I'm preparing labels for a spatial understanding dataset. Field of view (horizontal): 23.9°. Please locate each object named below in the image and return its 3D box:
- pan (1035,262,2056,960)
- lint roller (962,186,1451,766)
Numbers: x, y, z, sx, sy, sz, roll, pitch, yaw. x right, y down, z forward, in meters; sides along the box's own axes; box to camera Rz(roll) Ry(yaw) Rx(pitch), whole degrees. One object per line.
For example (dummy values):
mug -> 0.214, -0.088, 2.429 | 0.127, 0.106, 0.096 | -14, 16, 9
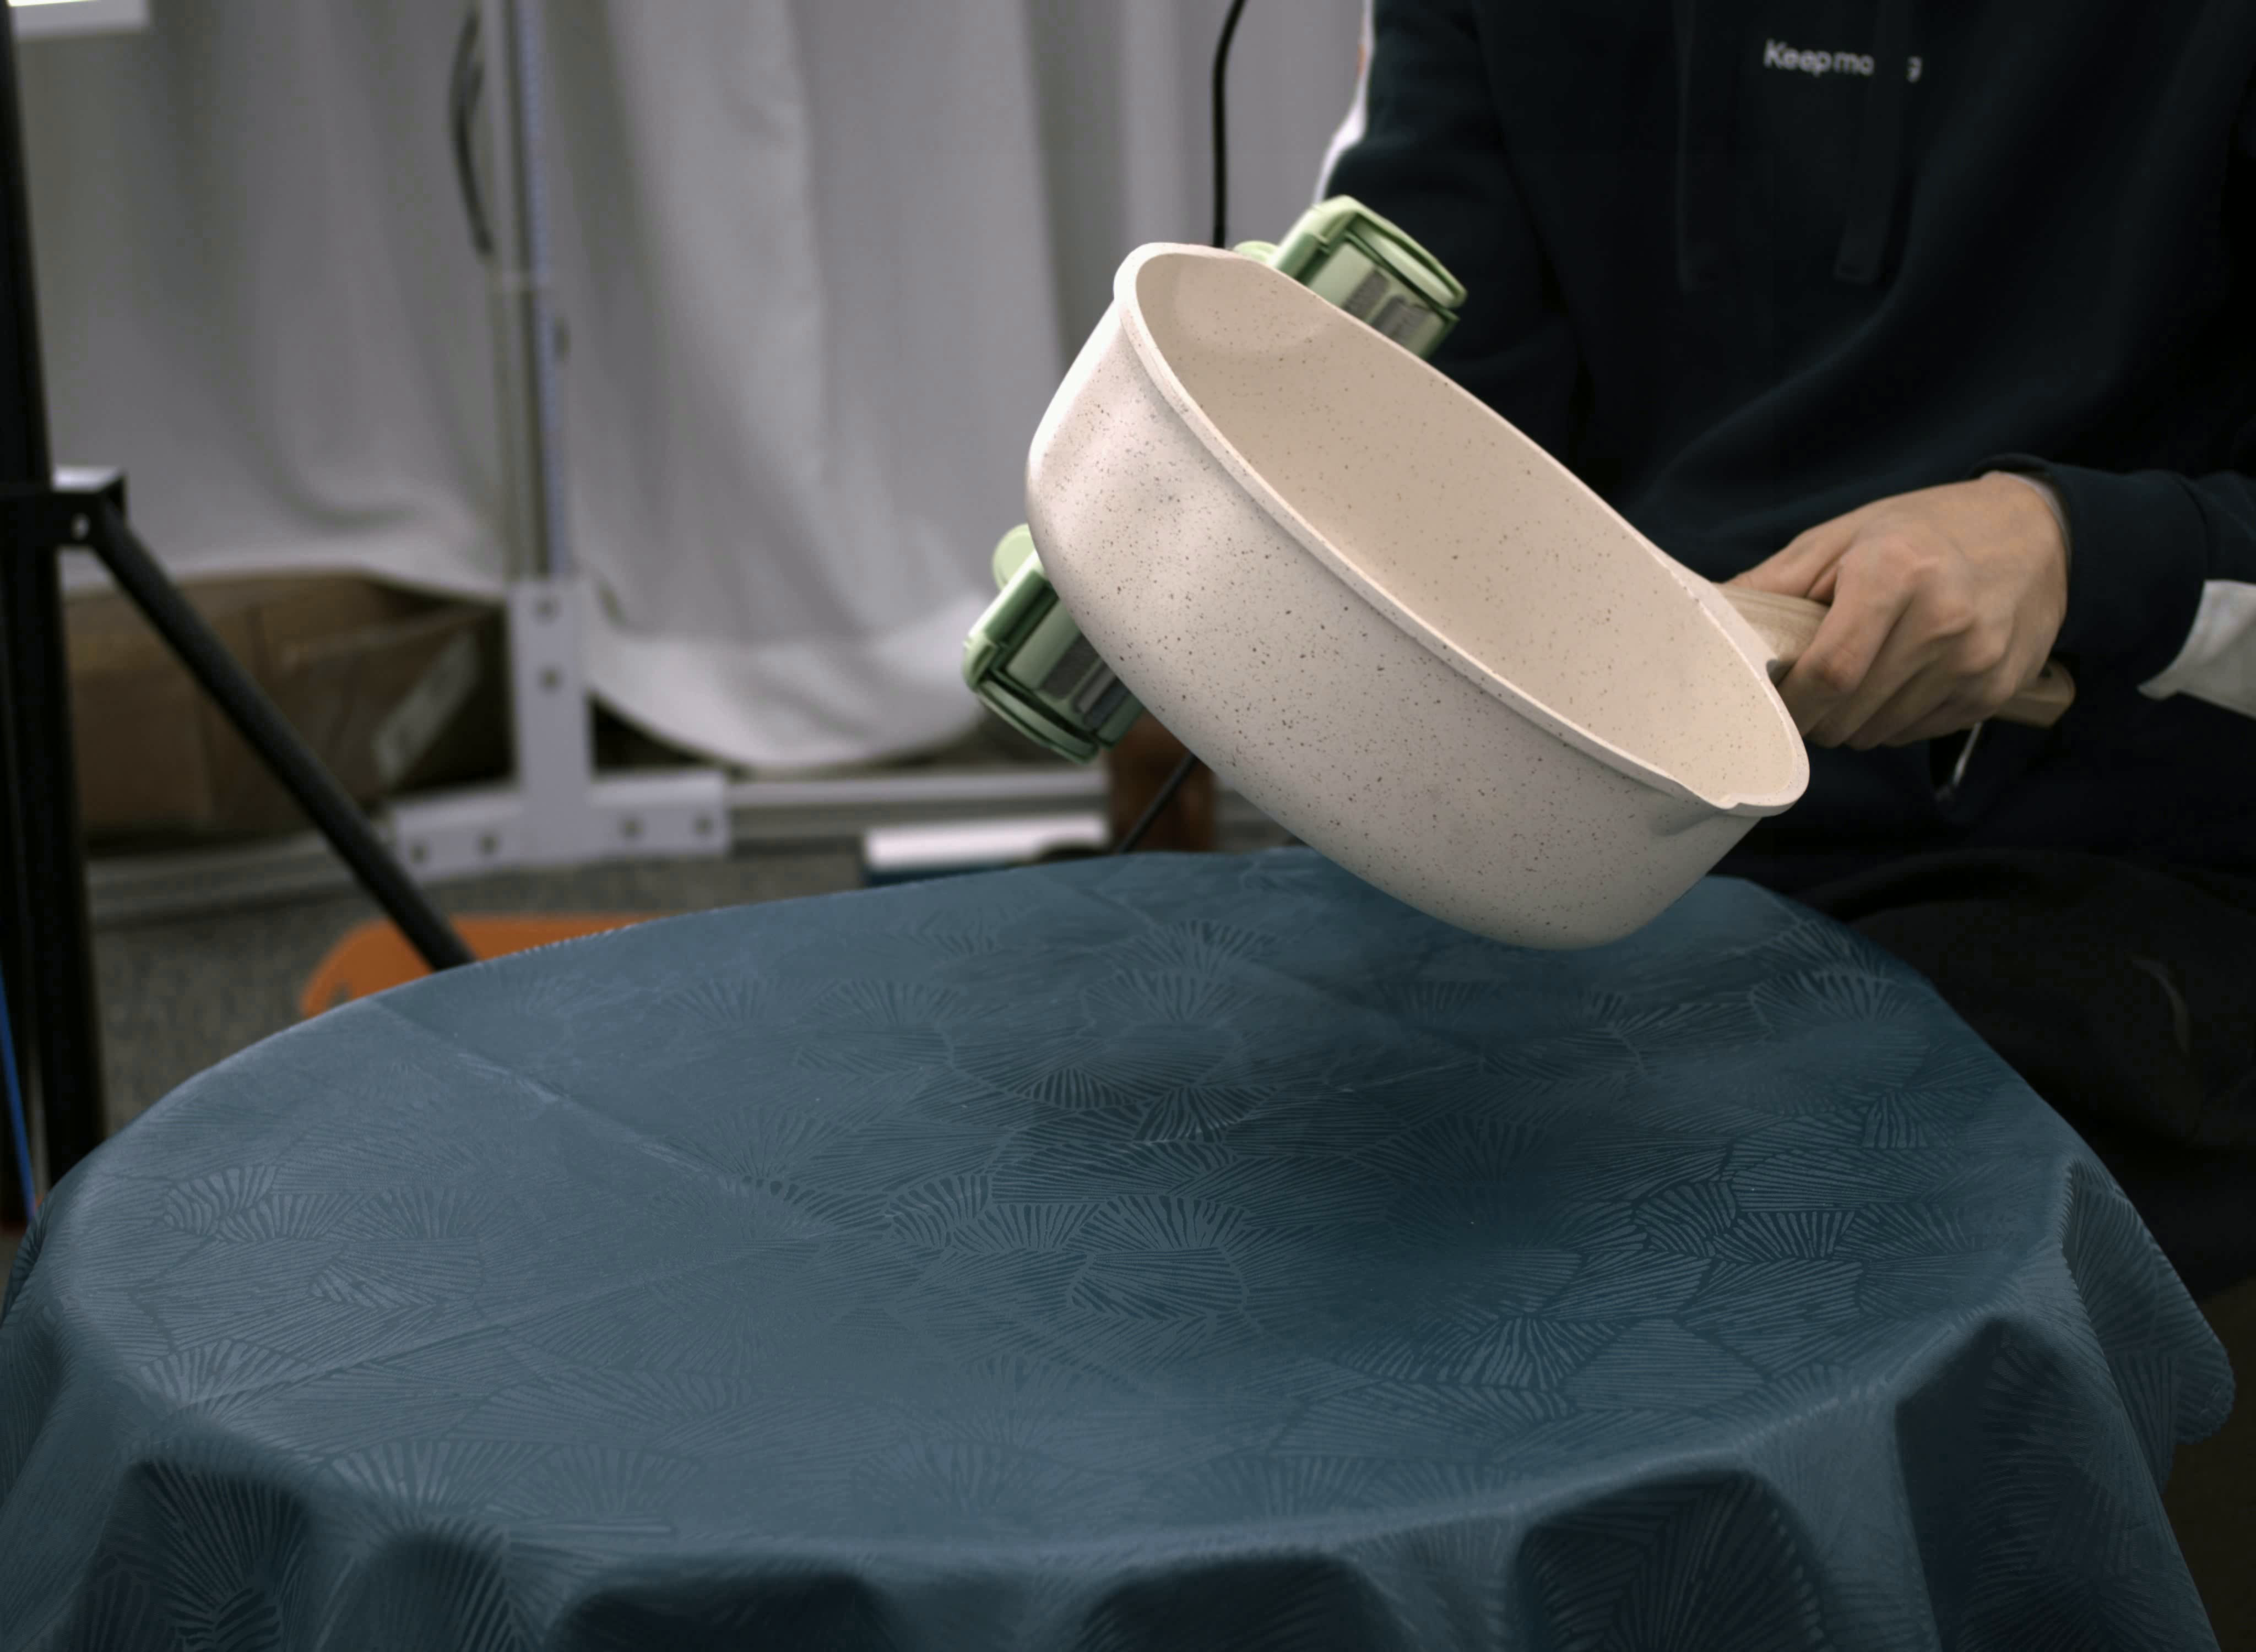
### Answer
pan -> 0.142, -0.046, 1.617 | 0.423, 0.102, 0.269 | 16, 26, -47
lint roller -> 0.035, -0.107, 1.738 | 0.083, 0.199, 0.180 | 40, 6, 20
